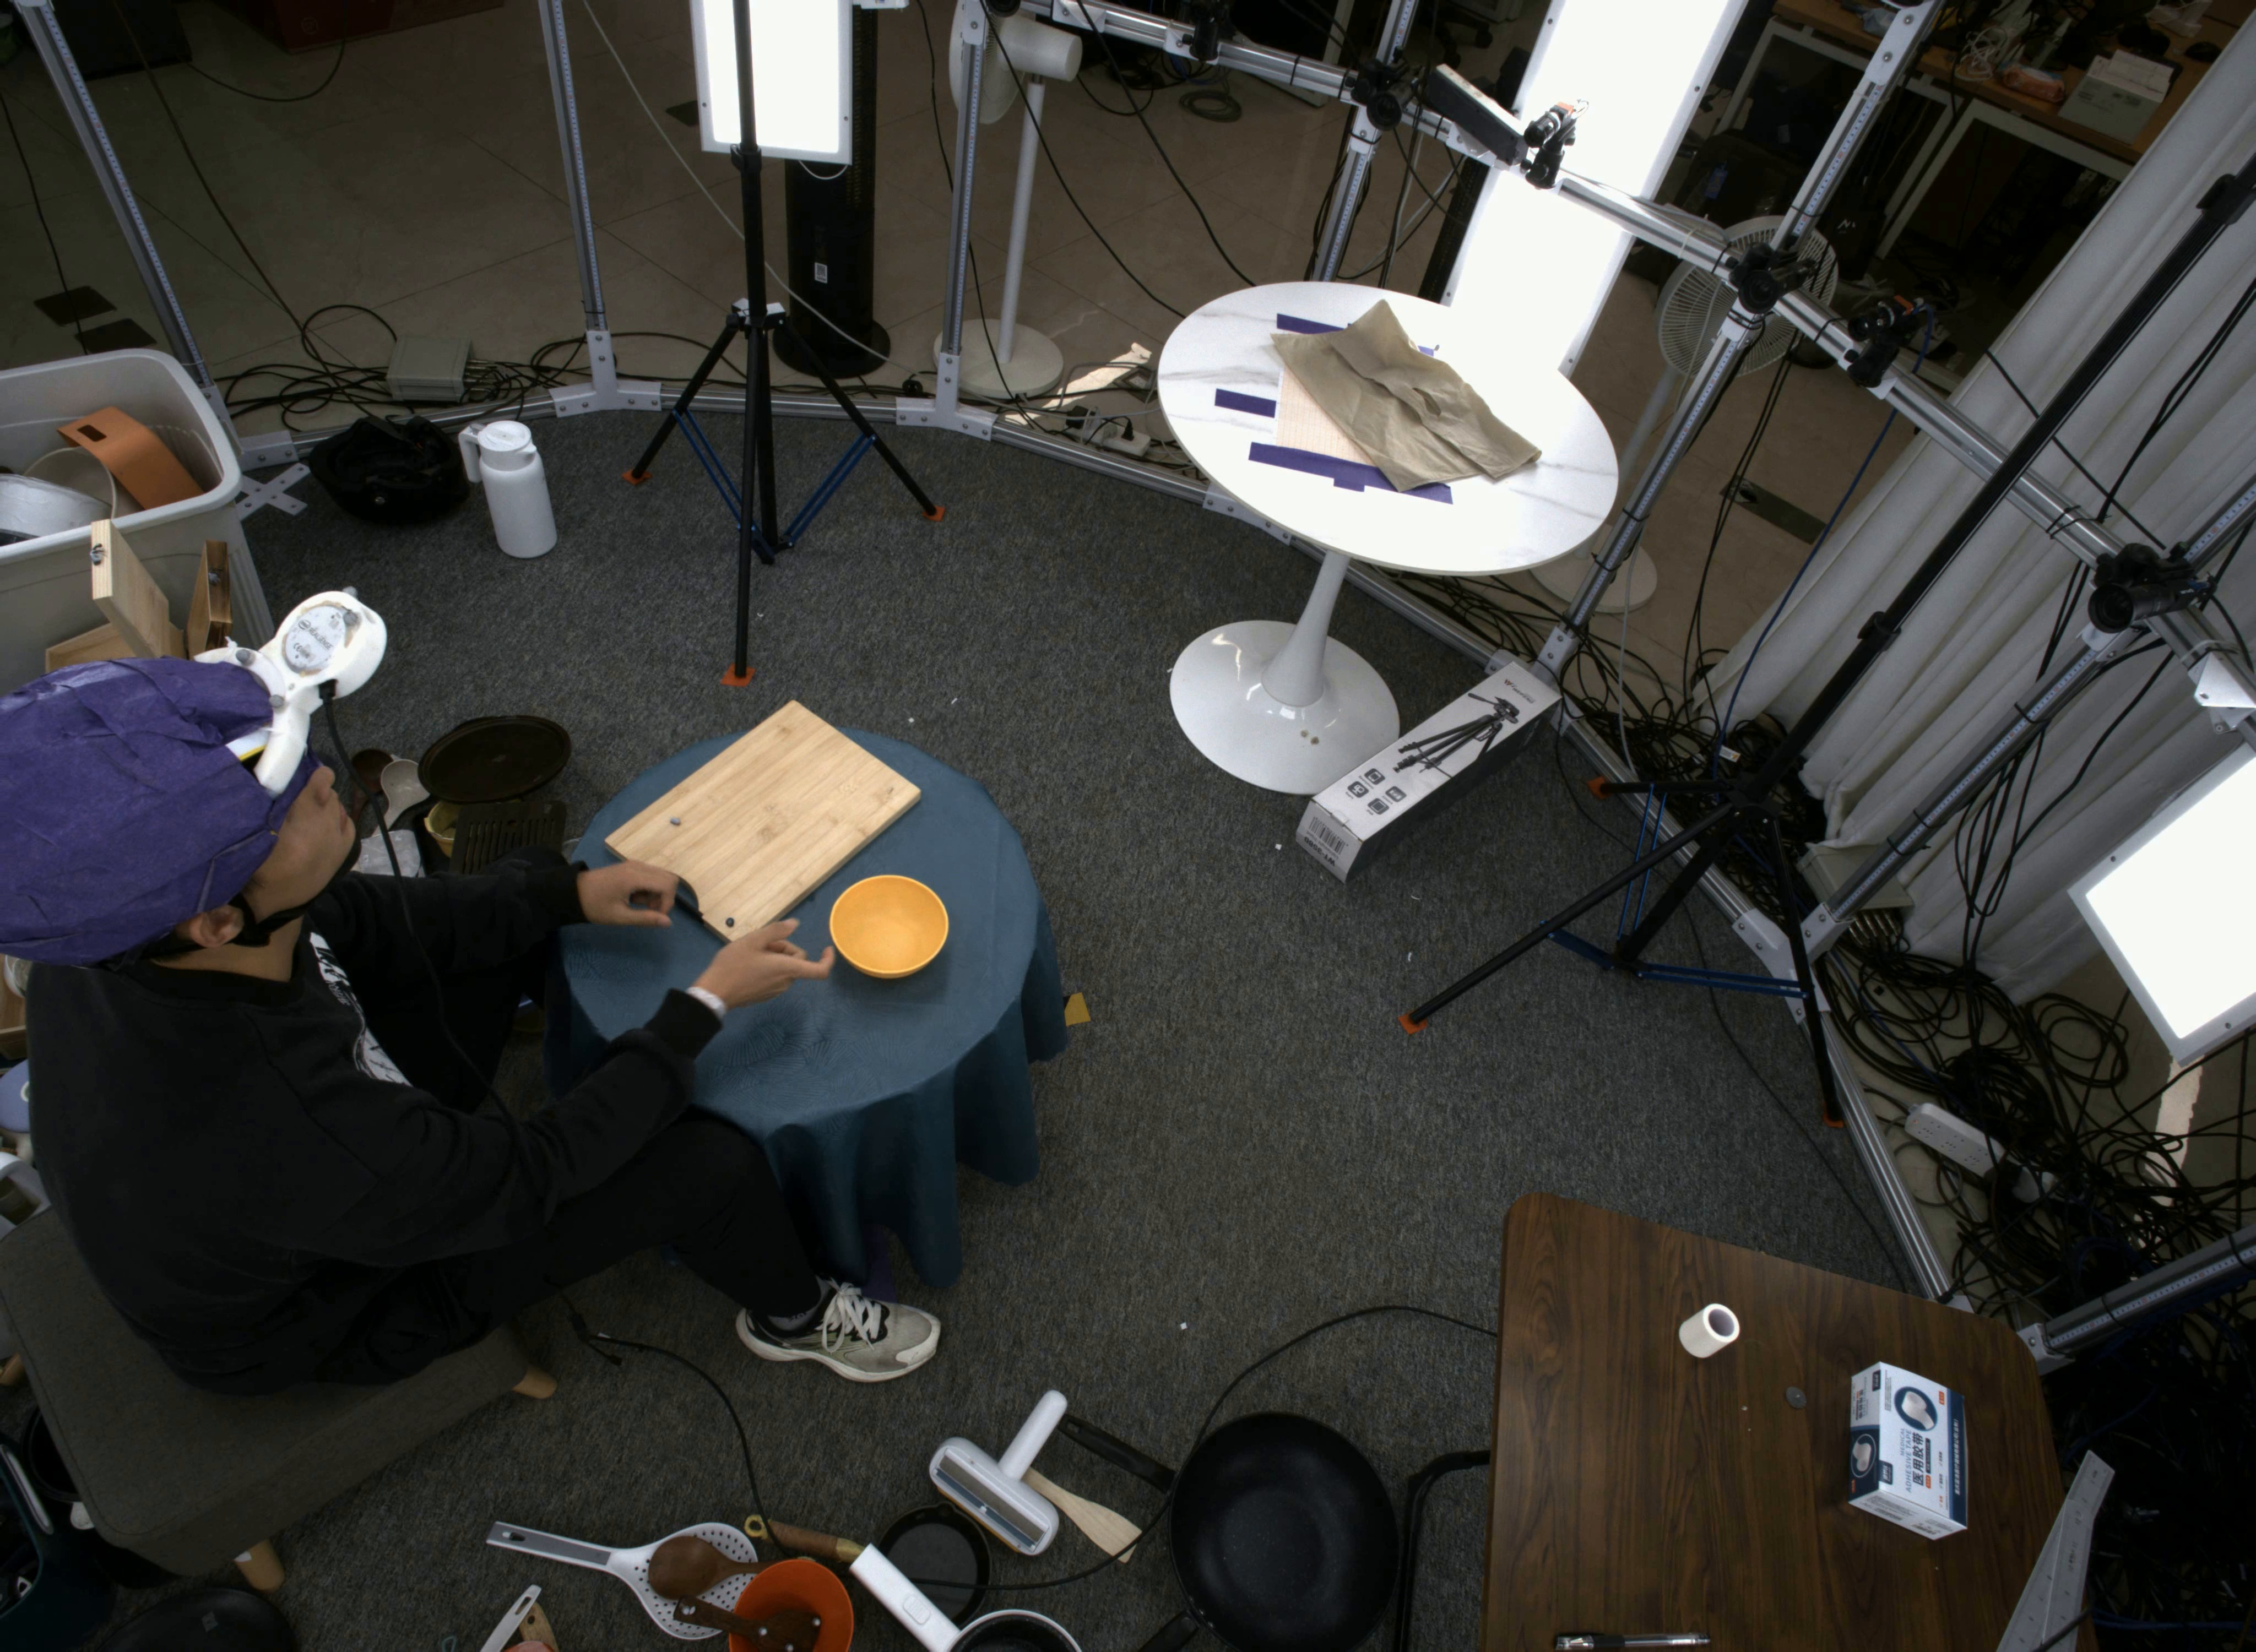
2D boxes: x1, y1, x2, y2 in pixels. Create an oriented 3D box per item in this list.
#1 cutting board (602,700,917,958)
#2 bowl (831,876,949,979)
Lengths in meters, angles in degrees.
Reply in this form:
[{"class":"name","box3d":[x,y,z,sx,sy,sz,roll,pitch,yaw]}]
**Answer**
[{"class":"cutting board","box3d":[-0.480,-0.008,1.710,0.246,0.024,0.348,34,53,12]},{"class":"bowl","box3d":[-0.296,0.136,1.625,0.144,0.061,0.143,6,52,-6]}]
